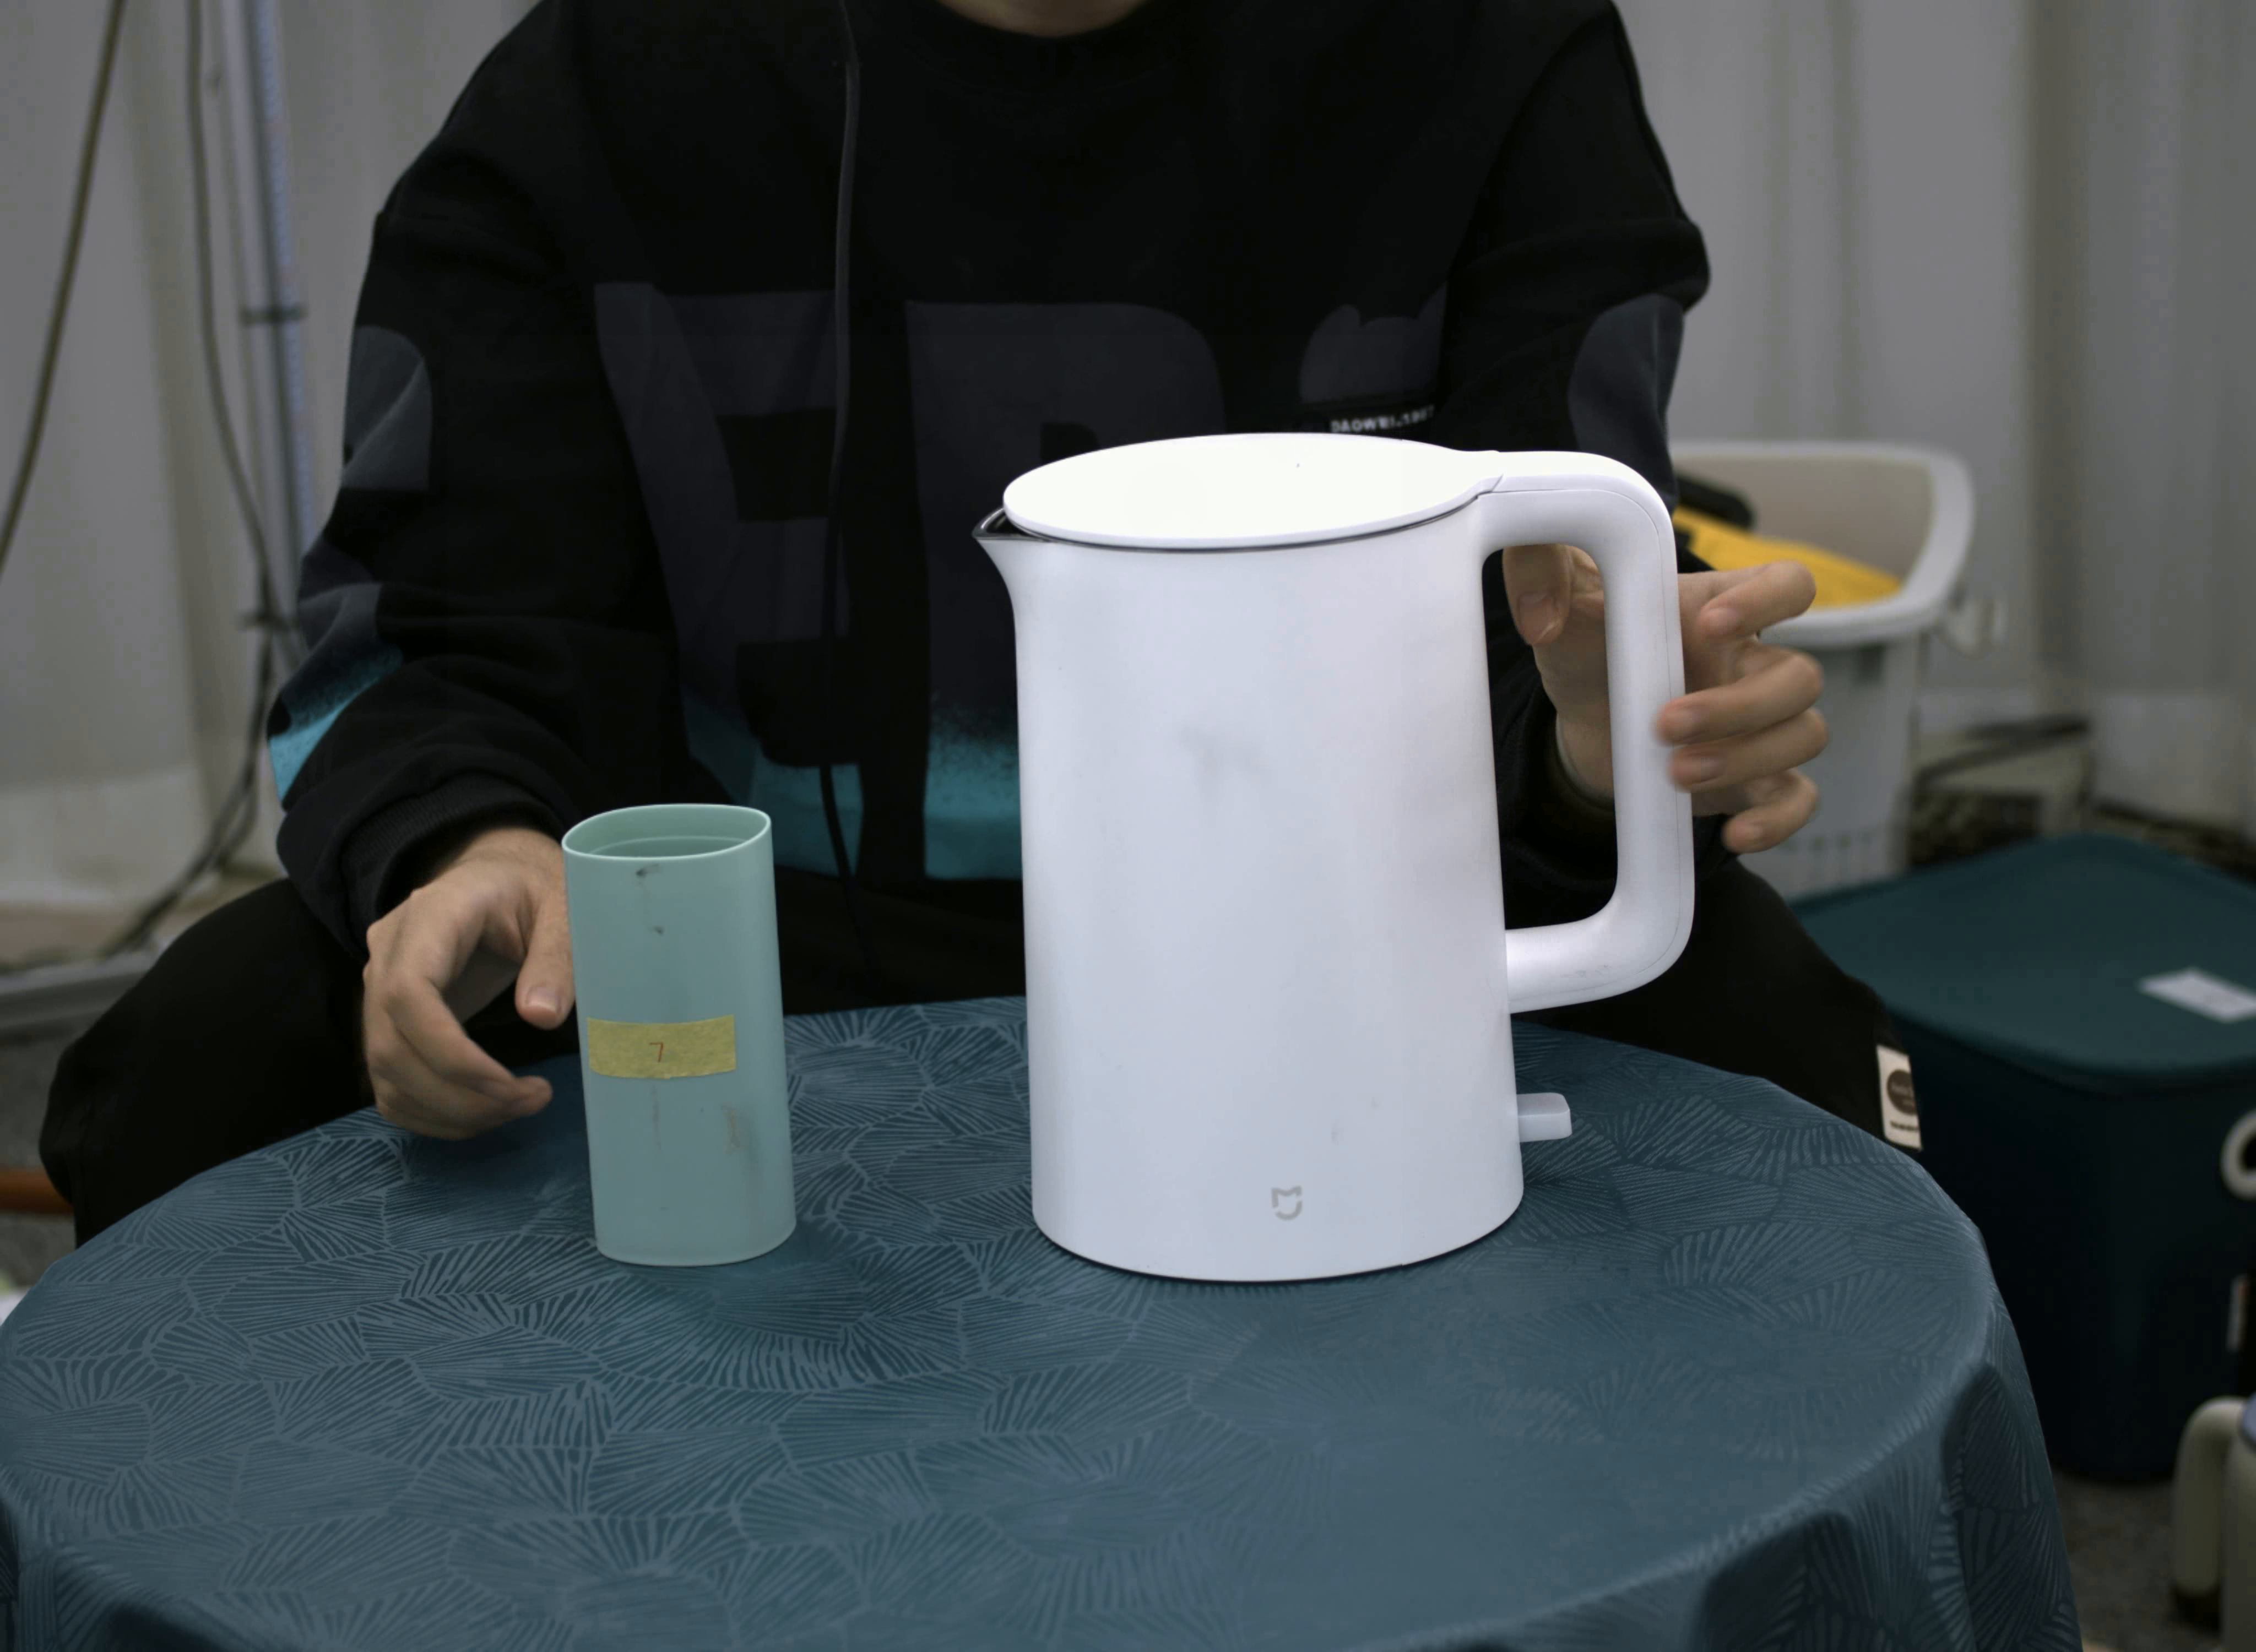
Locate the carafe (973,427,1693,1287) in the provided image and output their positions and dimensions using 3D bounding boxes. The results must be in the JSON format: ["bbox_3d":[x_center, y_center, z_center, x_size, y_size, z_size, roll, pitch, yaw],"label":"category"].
[{"bbox_3d":[0.066,0.005,1.666,0.212,0.239,0.153,-4,15,-2],"label":"carafe"}]

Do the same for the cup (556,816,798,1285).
[{"bbox_3d":[-0.137,0.068,1.679,0.066,0.132,0.067,-4,14,1],"label":"cup"}]
